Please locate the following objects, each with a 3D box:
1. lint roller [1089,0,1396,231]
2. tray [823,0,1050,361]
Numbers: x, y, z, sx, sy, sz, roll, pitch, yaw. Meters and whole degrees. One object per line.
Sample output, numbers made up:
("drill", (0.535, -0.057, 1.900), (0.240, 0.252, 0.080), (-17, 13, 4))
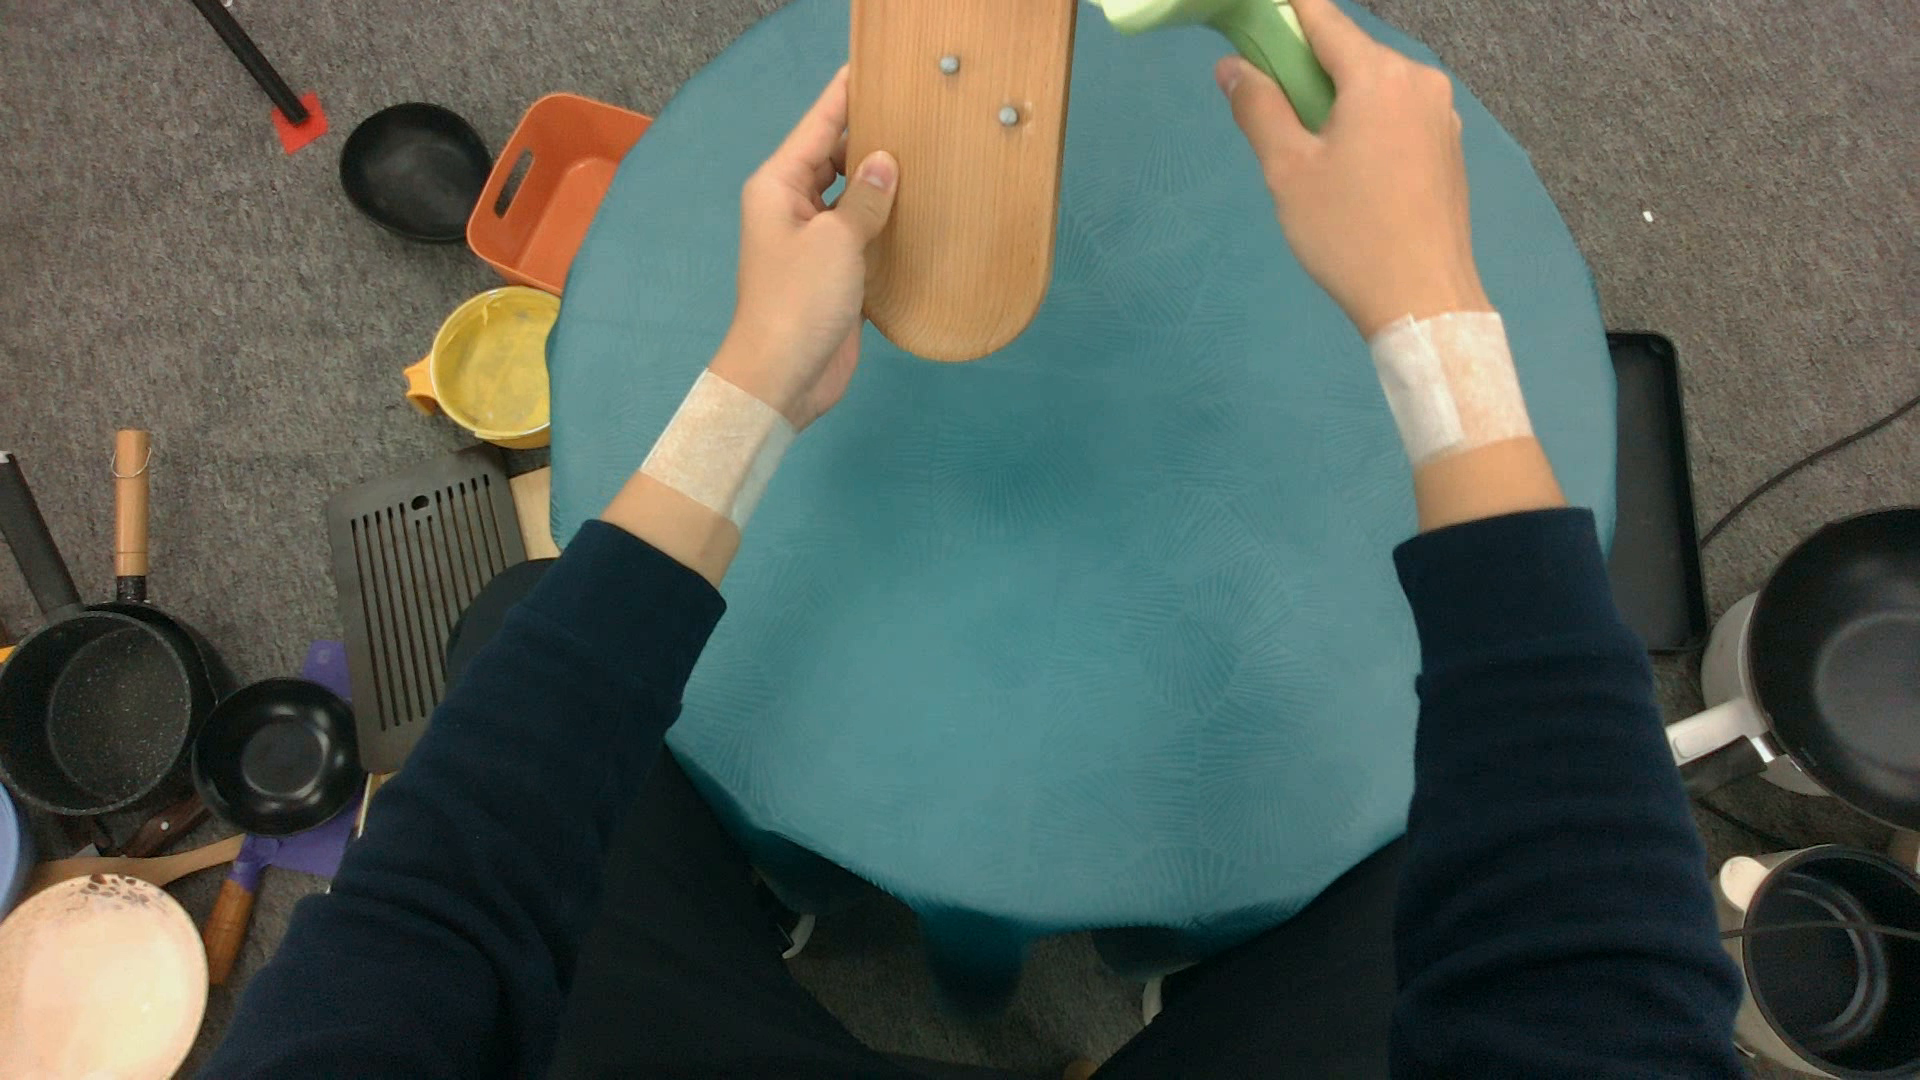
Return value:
("lint roller", (0.131, -0.213, 0.548), (0.183, 0.082, 0.199), (48, 36, 3))
("tray", (-0.011, -0.193, 0.598), (0.101, 0.020, 0.230), (11, 113, 21))
